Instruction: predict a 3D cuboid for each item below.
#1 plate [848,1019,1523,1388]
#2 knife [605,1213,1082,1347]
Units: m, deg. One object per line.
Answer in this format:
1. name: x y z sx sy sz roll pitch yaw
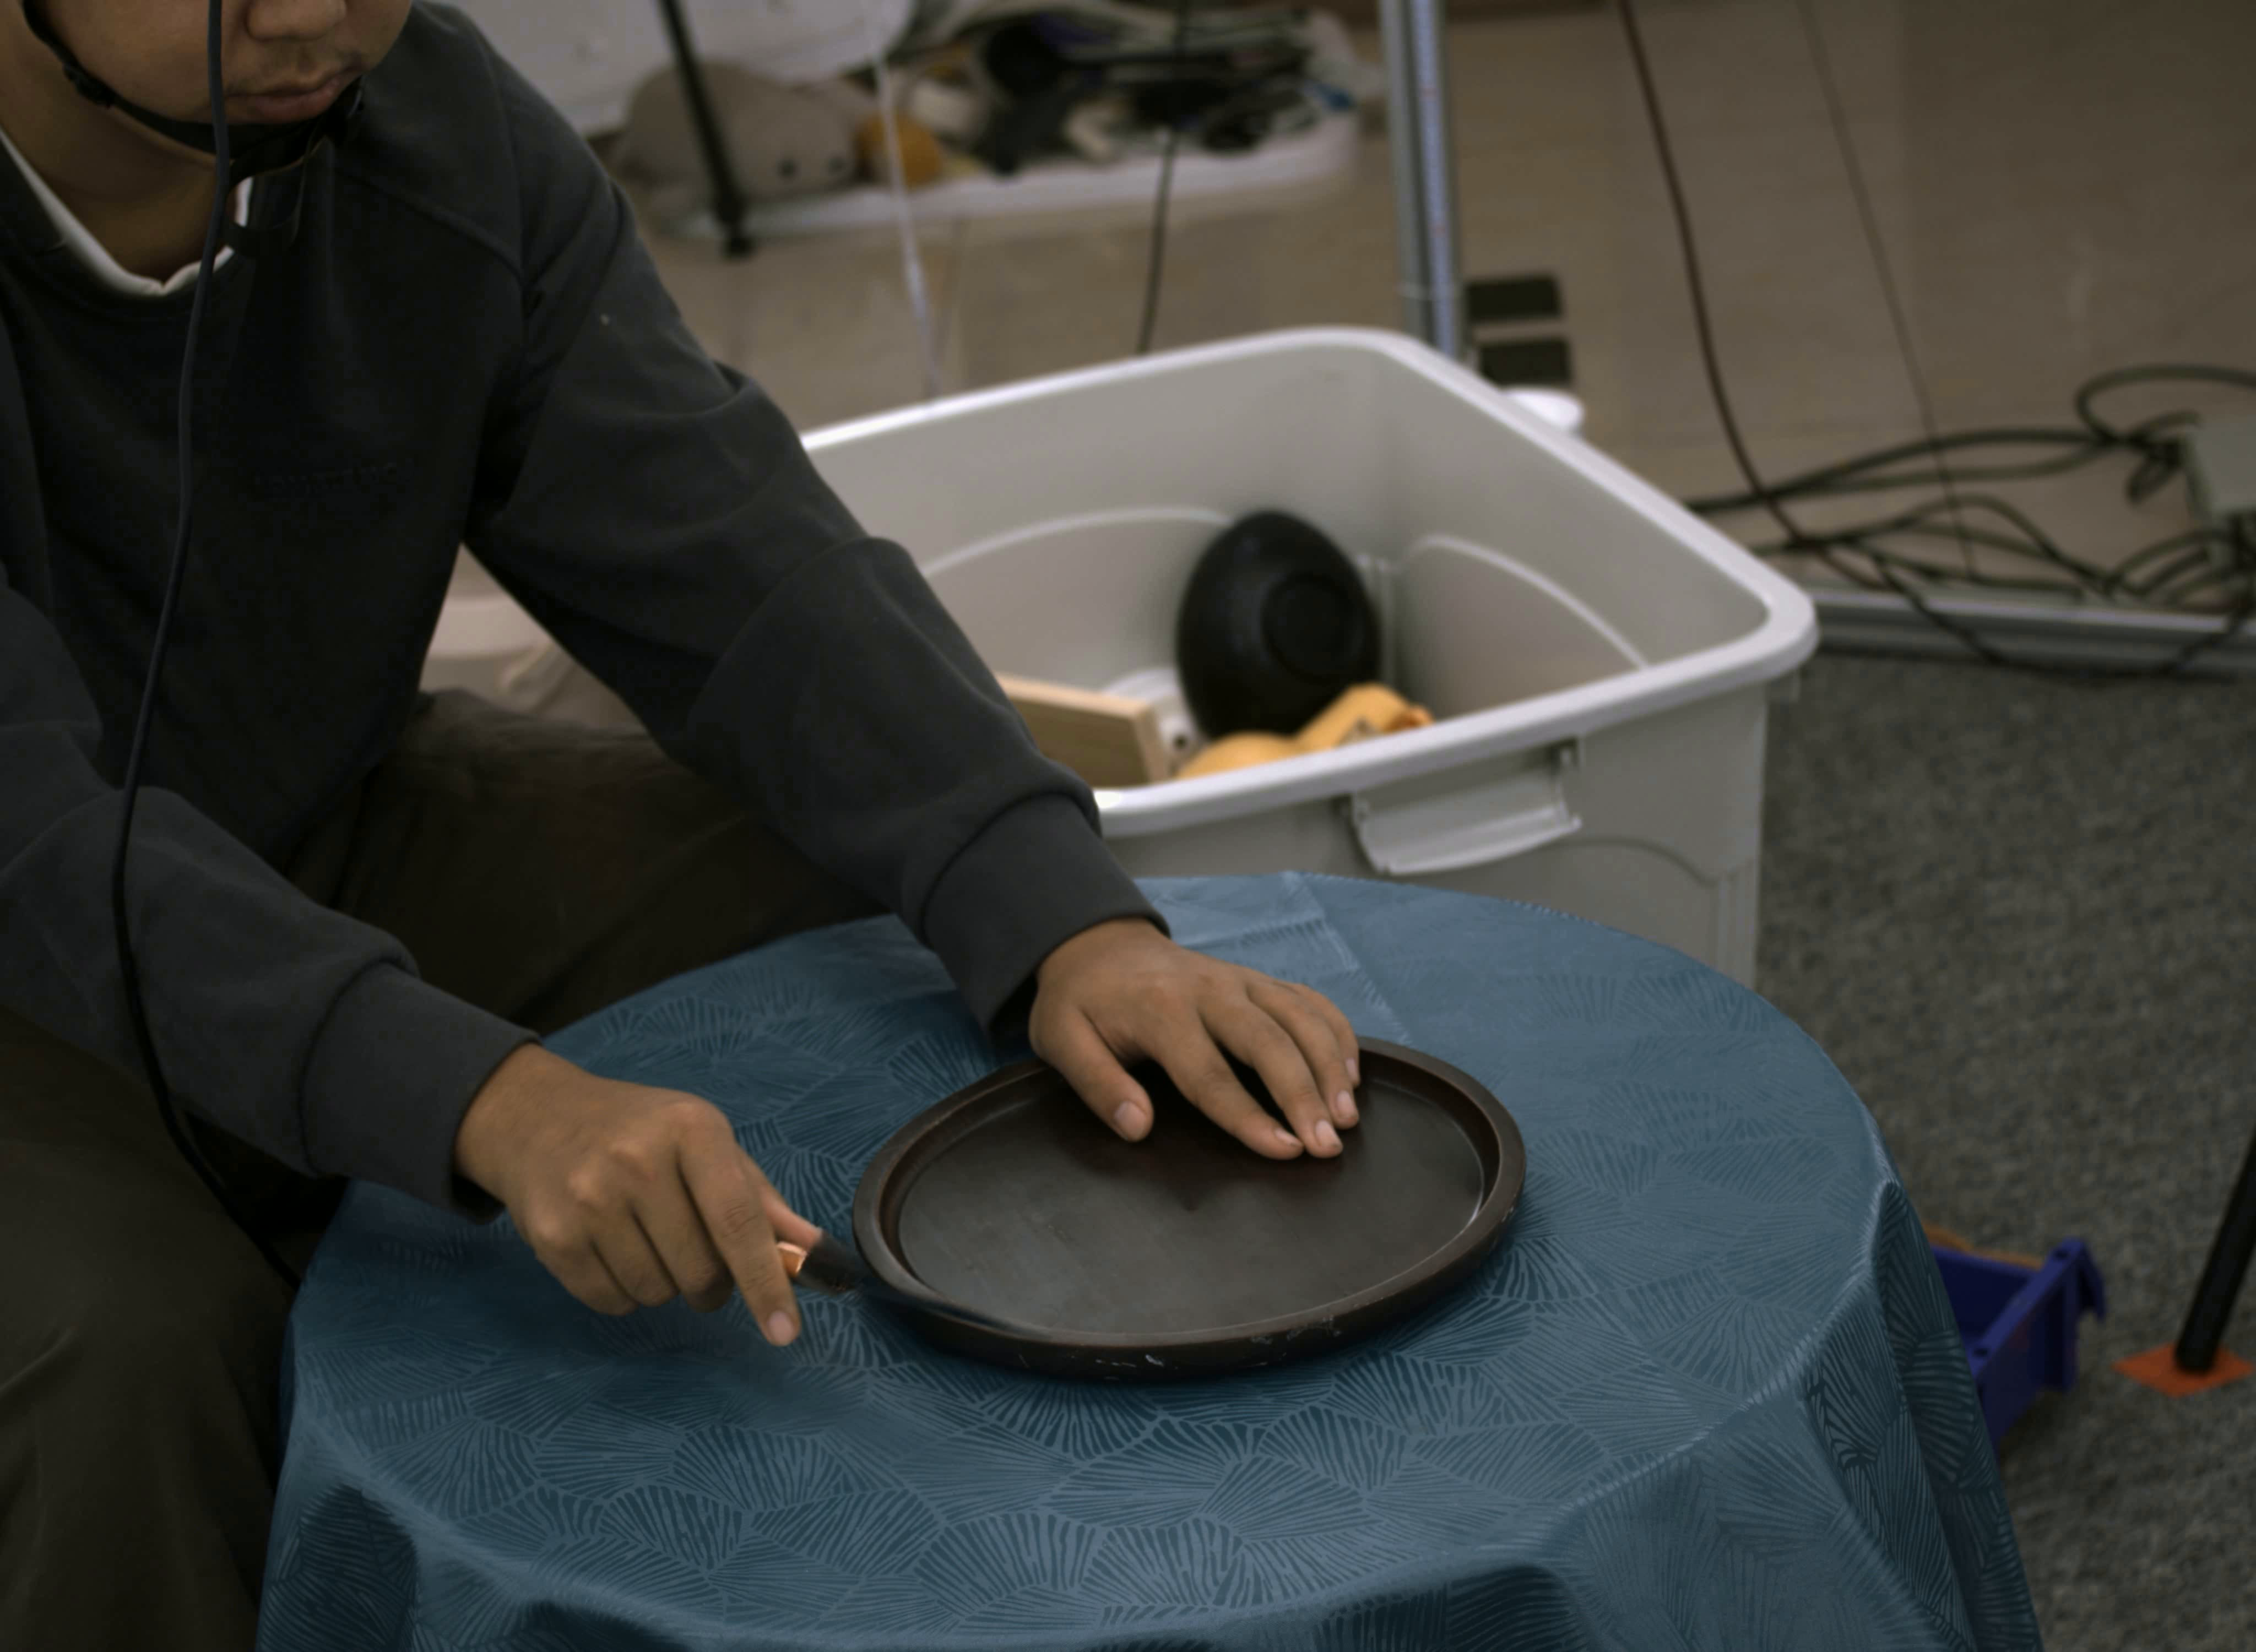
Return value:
1. plate: 0.022 0.139 2.115 0.254 0.029 0.251 -7 25 3
2. knife: -0.105 0.162 2.025 0.224 0.026 0.017 9 69 40
